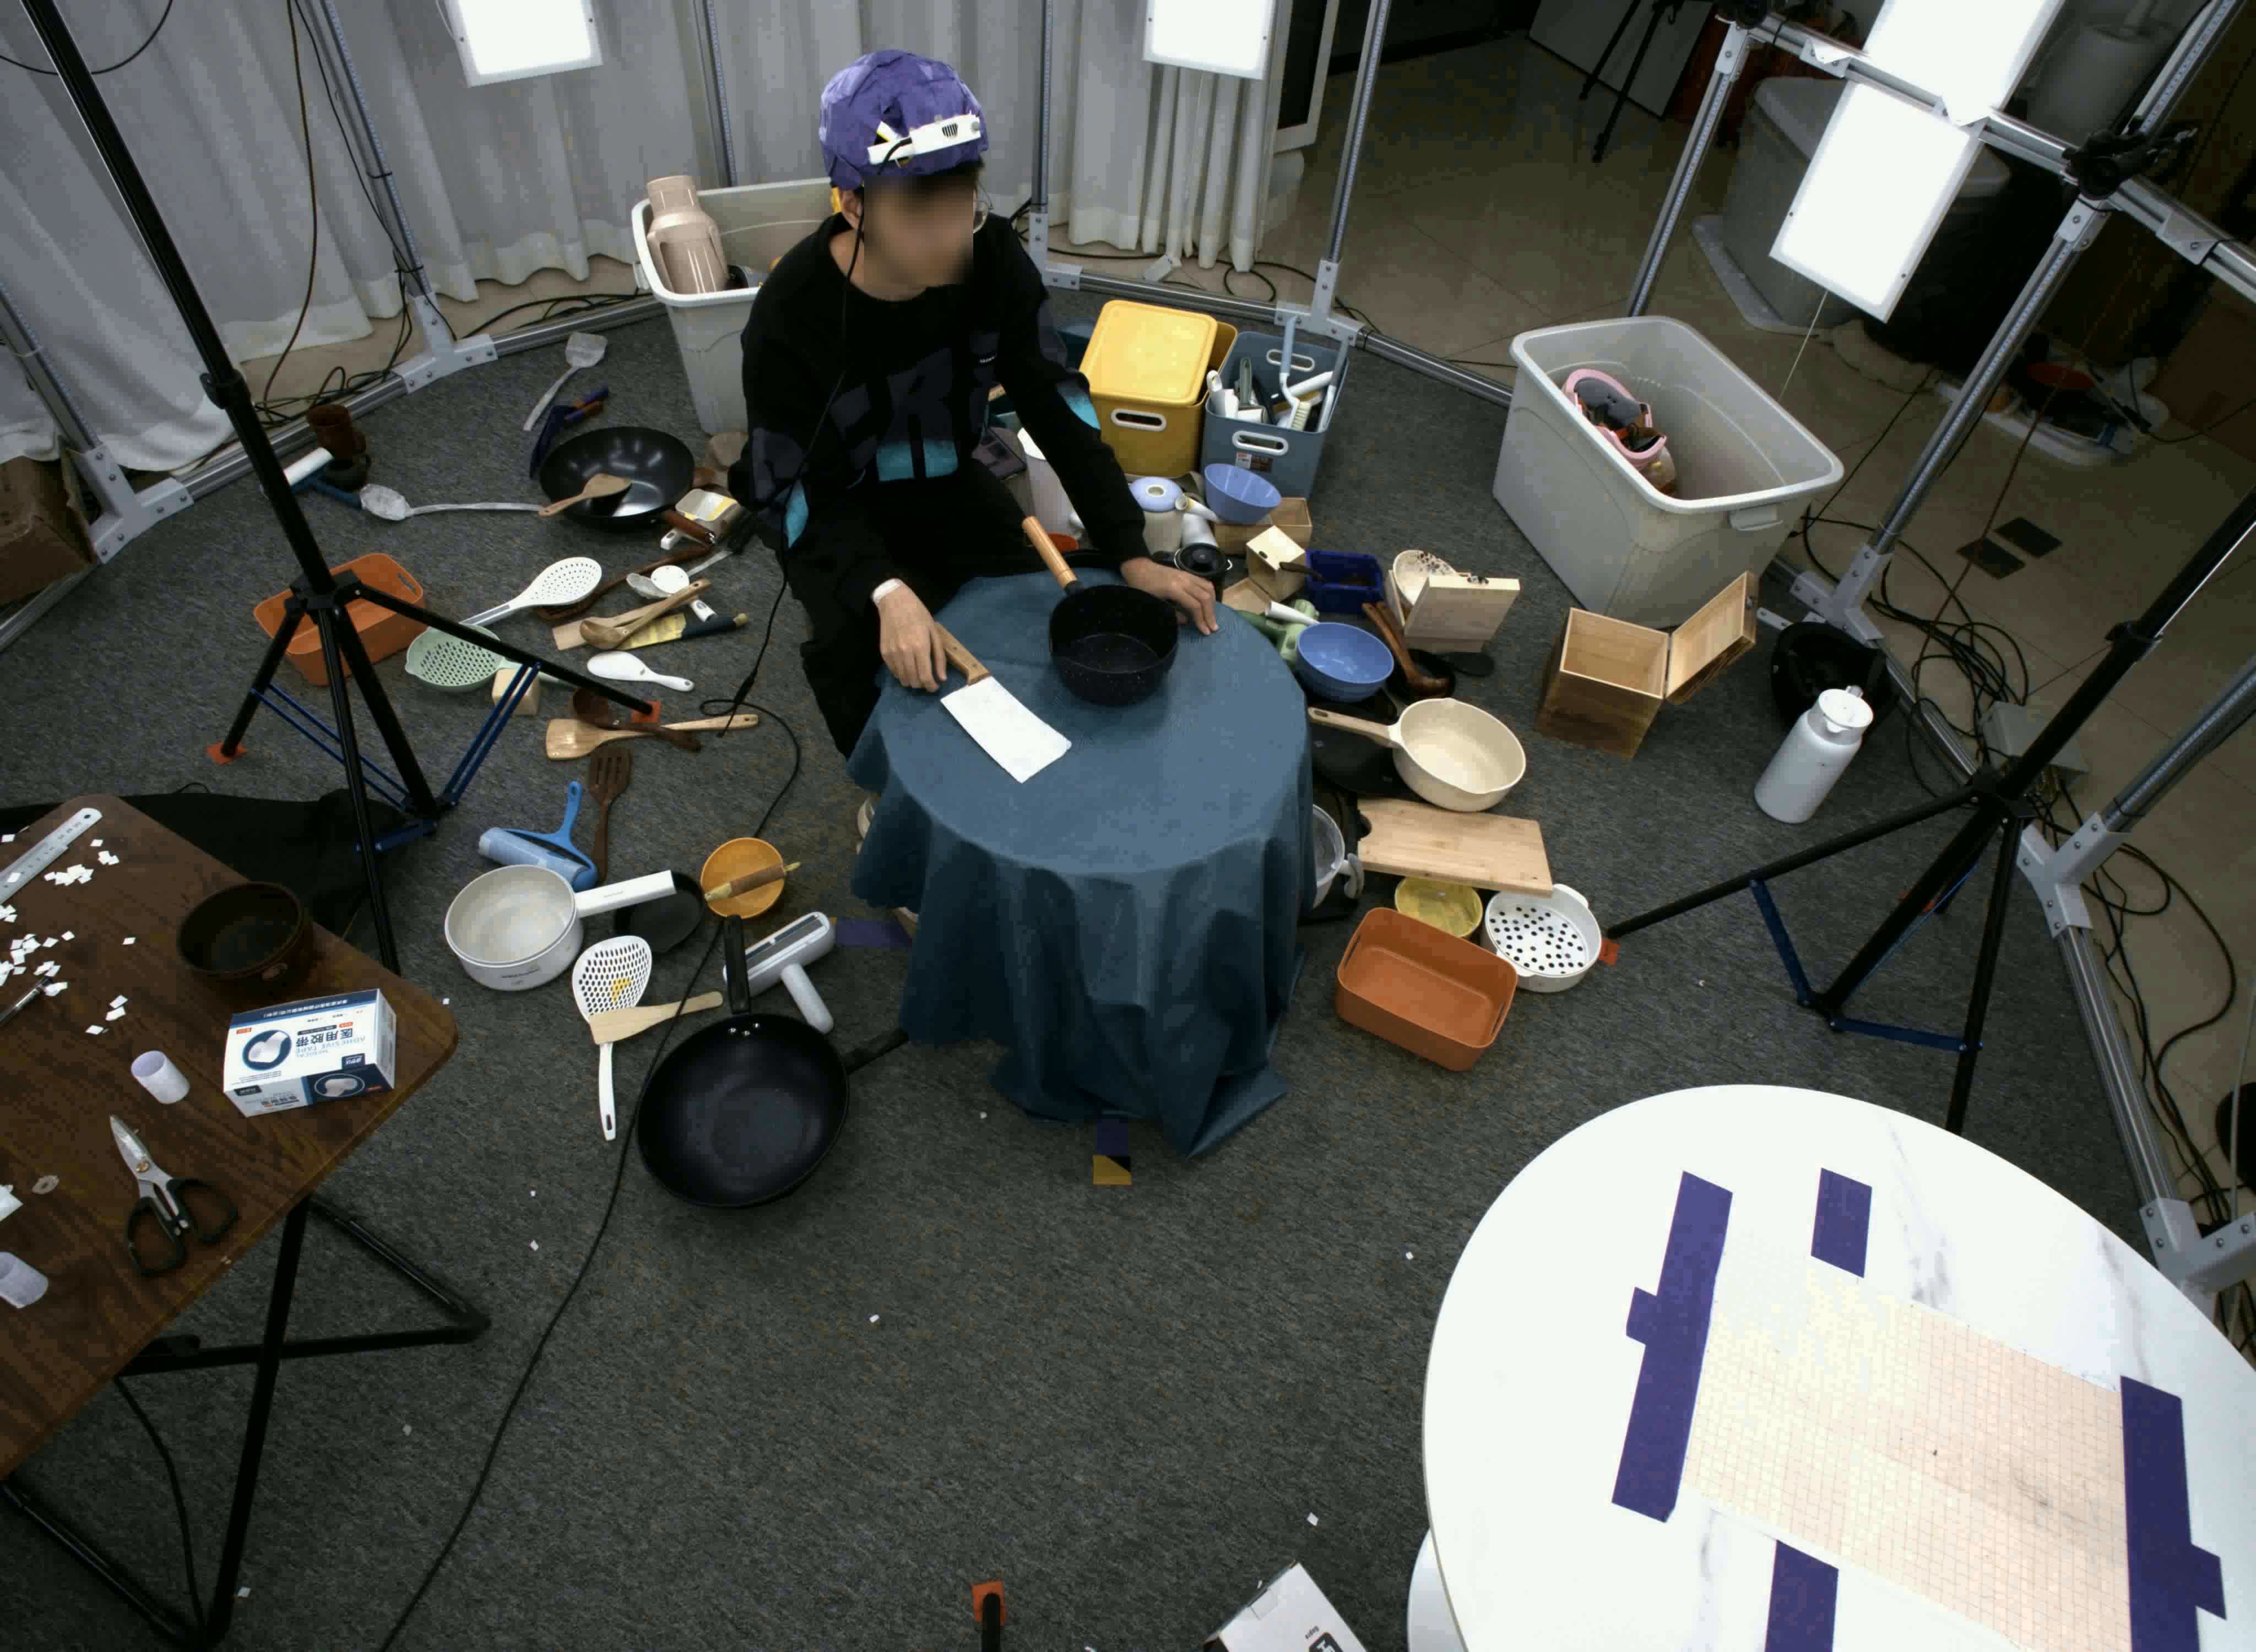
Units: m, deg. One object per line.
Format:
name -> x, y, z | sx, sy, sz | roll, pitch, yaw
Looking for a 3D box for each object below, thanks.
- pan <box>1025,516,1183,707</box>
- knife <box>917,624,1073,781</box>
pan -> -0.060, -0.312, 1.865 | 0.208, 0.105, 0.349 | -25, 56, -22
knife -> -0.198, -0.181, 1.801 | 0.114, 0.021, 0.321 | -28, 59, -25
